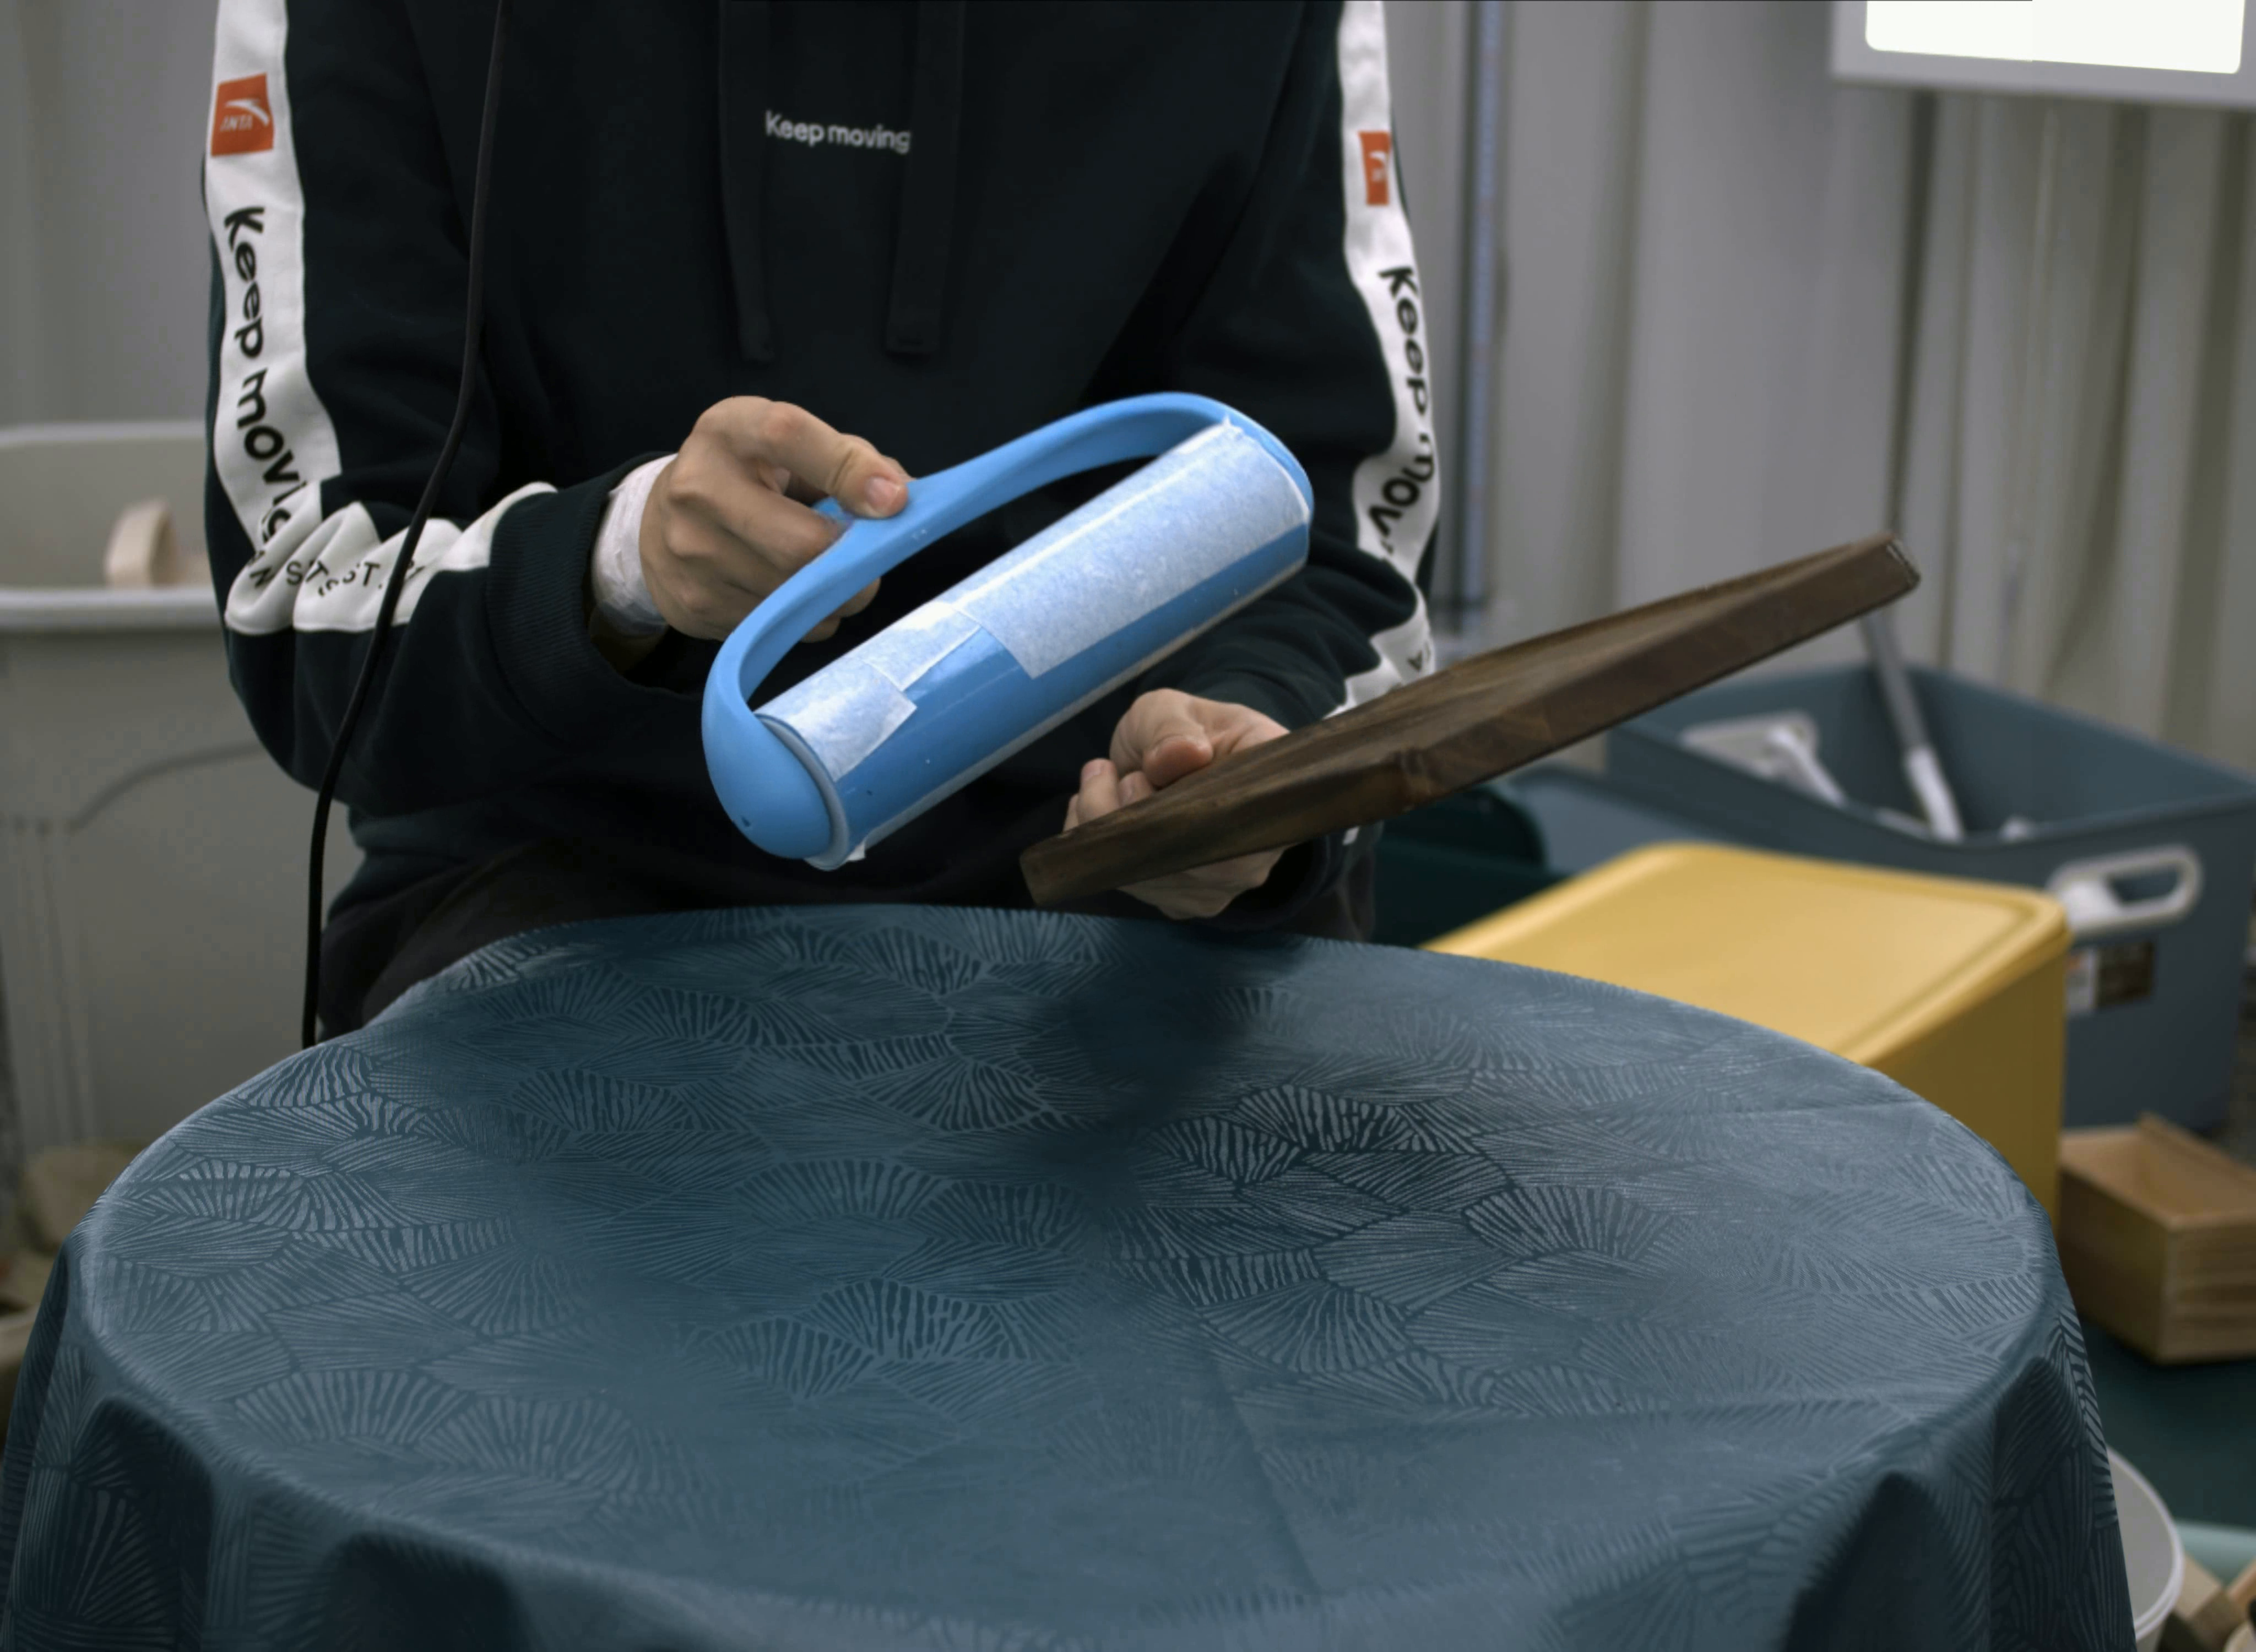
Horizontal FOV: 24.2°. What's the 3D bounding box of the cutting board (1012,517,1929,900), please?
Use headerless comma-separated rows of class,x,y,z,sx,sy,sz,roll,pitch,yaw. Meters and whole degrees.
cutting board,0.077,-0.027,1.649,0.201,0.023,0.350,-23,3,-29

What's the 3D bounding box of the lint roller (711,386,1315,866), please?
lint roller,-0.070,-0.074,1.654,0.178,0.069,0.229,20,47,42
